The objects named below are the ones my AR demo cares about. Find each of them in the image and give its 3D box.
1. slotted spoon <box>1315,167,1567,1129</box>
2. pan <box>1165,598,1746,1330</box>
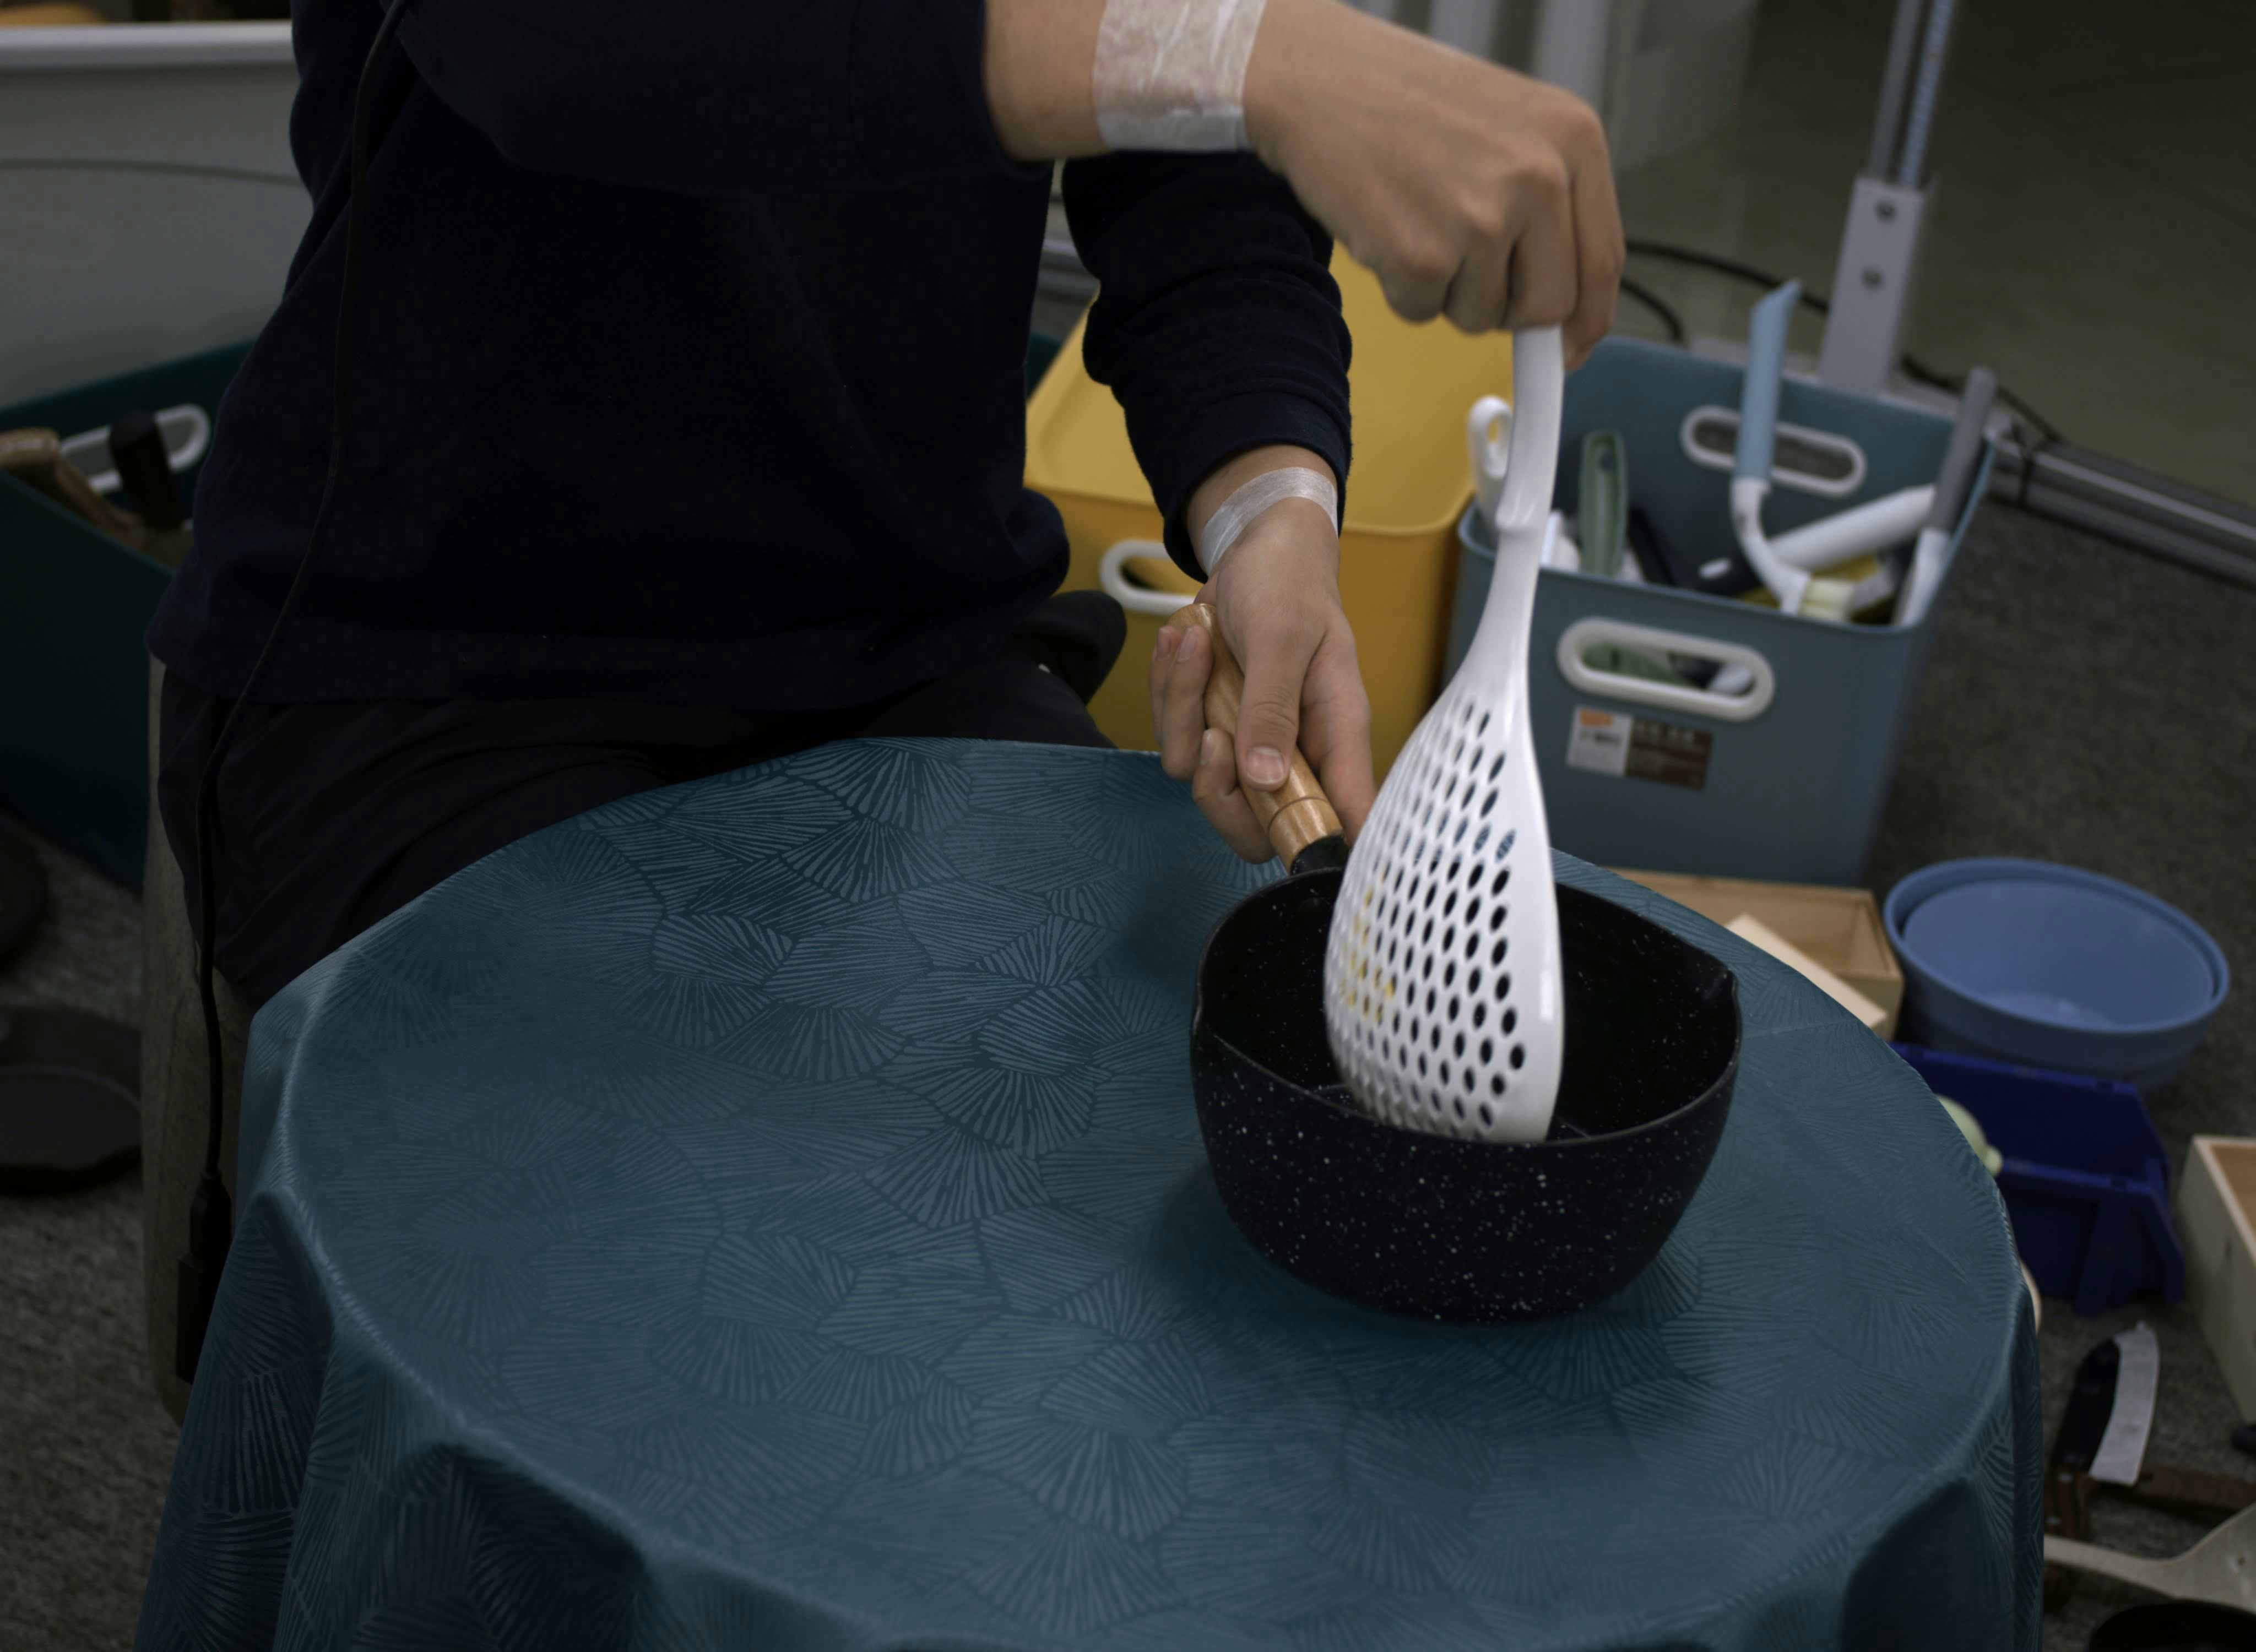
[{"bbox_3d":[0.110,-0.044,1.721,0.050,0.347,0.138,1,20,-29],"label":"slotted spoon"},{"bbox_3d":[0.080,0.045,1.850,0.206,0.108,0.346,-7,32,-22],"label":"pan"}]
